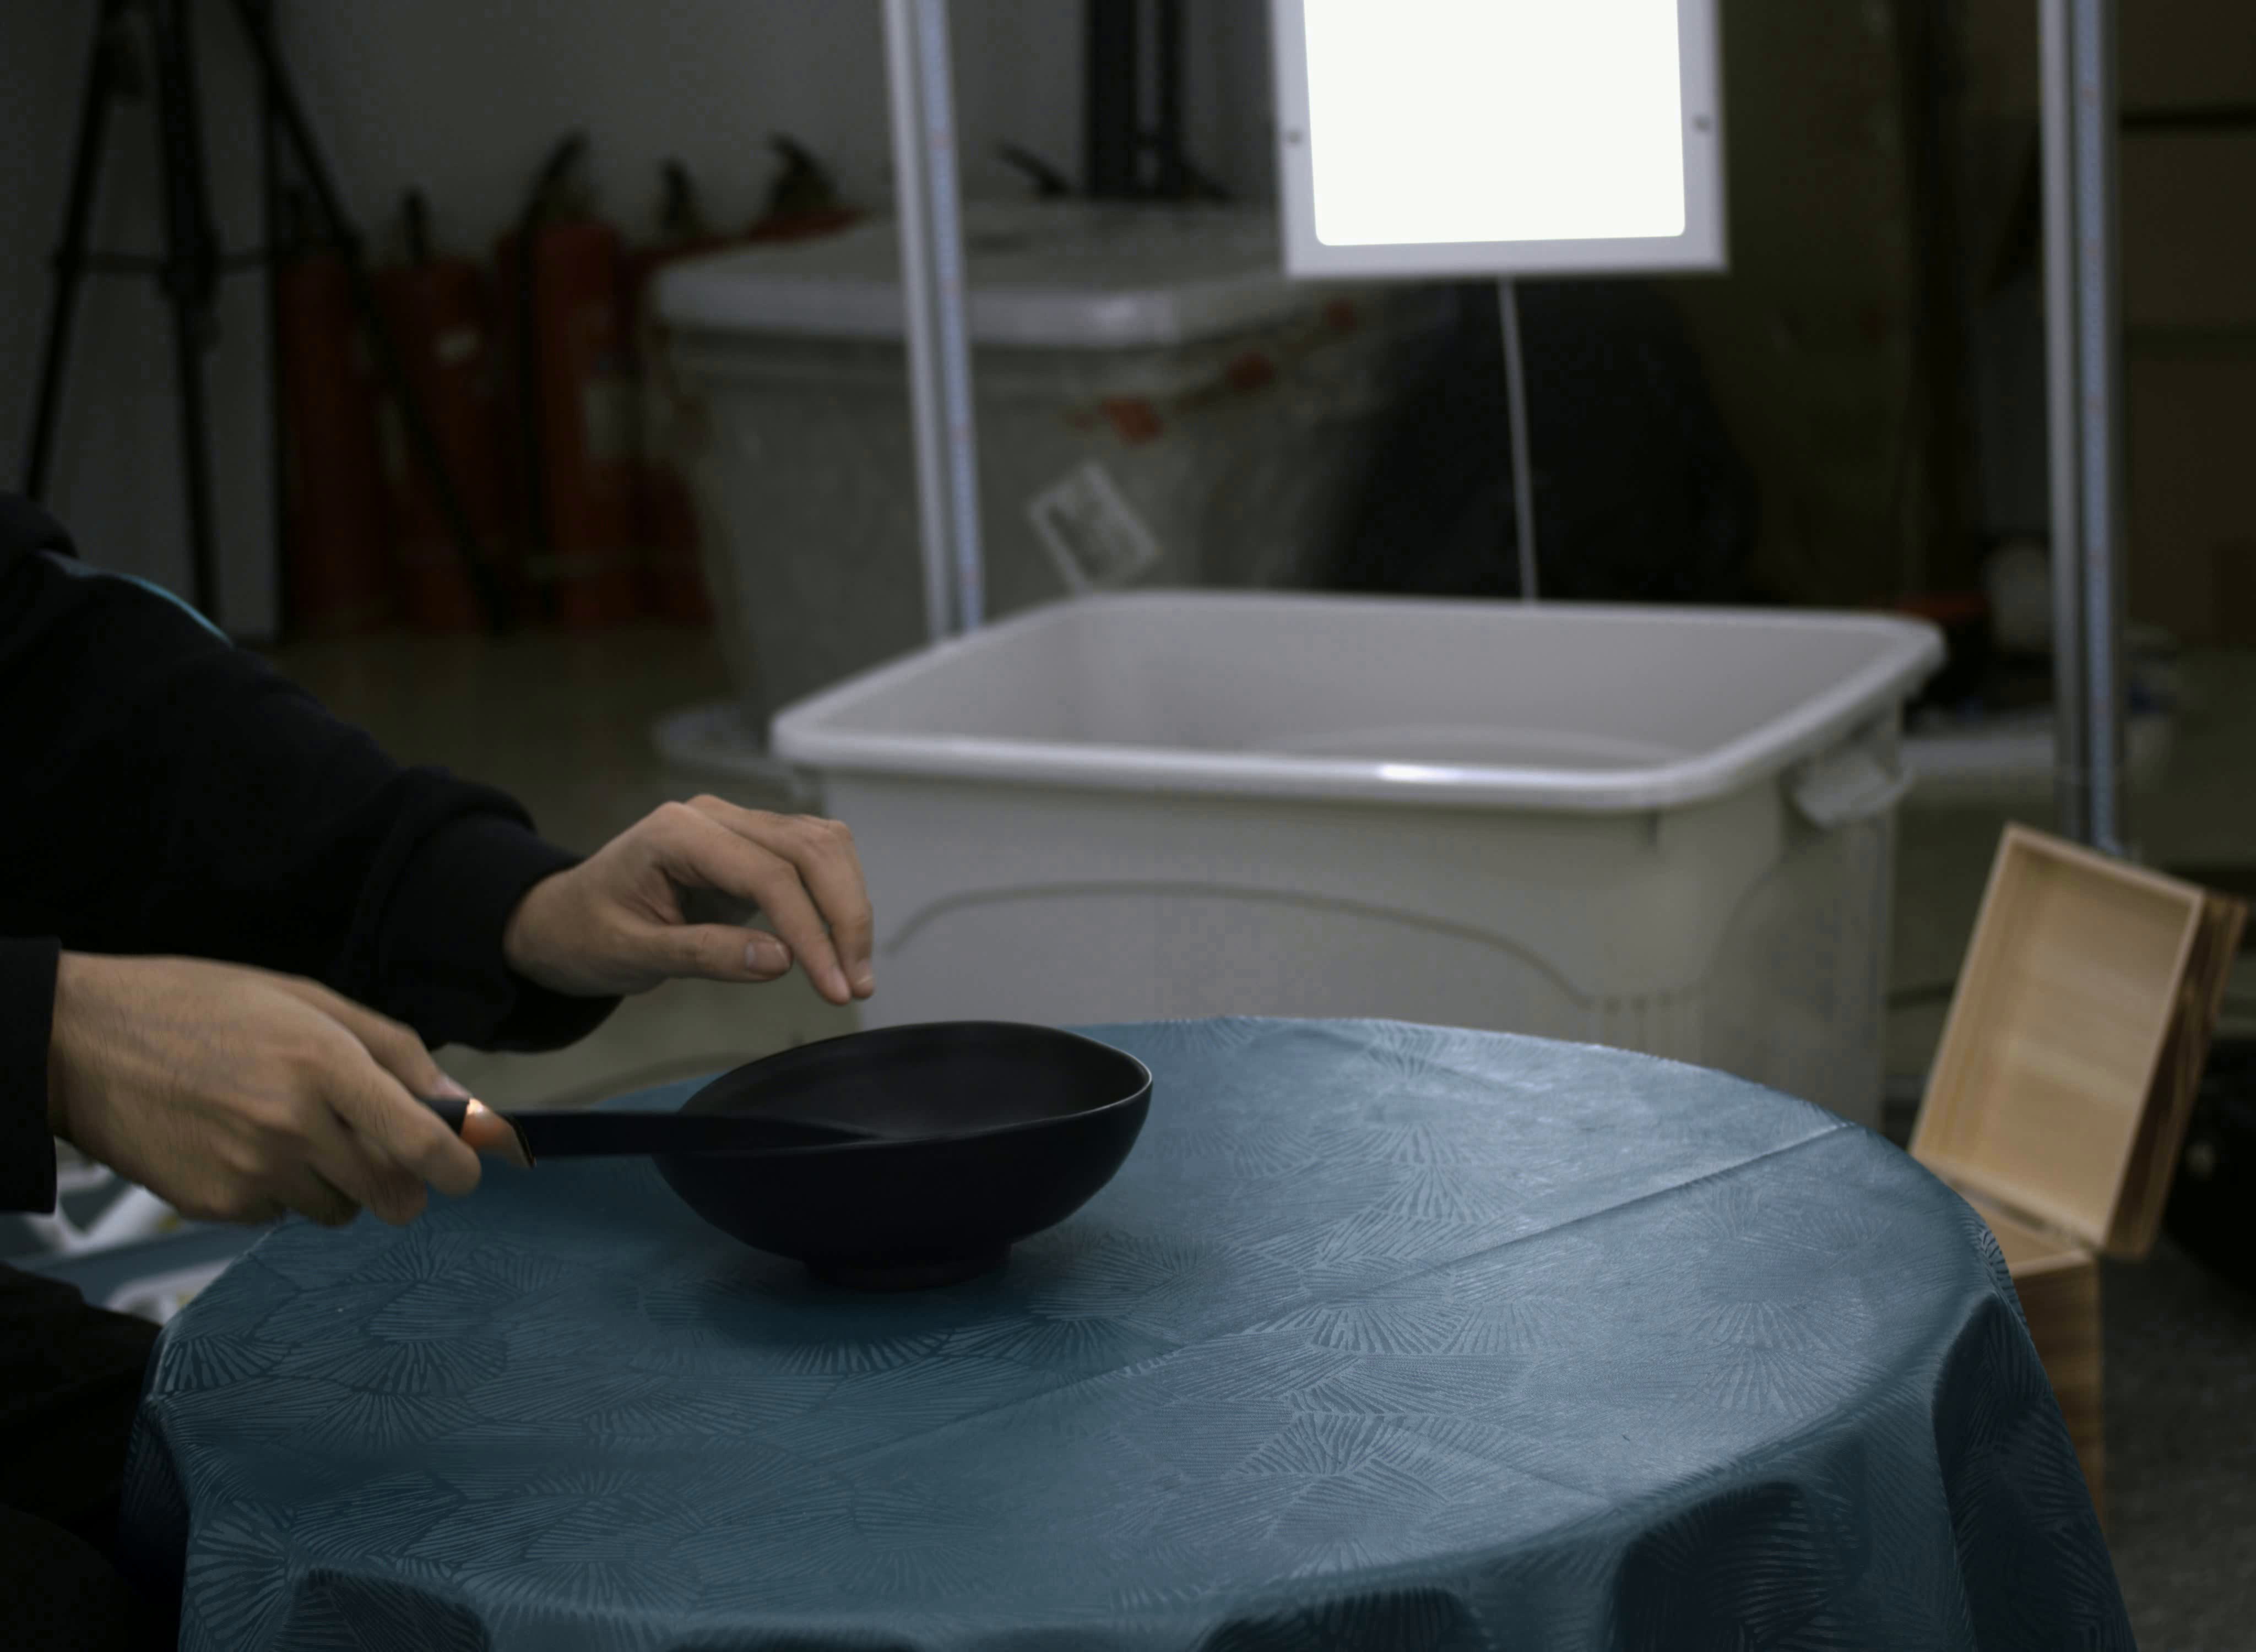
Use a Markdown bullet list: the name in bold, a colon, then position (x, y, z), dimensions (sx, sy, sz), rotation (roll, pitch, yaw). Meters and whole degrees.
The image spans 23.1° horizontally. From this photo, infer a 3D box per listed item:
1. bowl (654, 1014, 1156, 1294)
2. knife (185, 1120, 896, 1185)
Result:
- **bowl**: position (-0.072, 0.115, 1.836), dimensions (0.170, 0.067, 0.137), rotation (-7, 14, 0)
- **knife**: position (-0.182, 0.101, 1.701), dimensions (0.227, 0.026, 0.017), rotation (0, 52, 14)
